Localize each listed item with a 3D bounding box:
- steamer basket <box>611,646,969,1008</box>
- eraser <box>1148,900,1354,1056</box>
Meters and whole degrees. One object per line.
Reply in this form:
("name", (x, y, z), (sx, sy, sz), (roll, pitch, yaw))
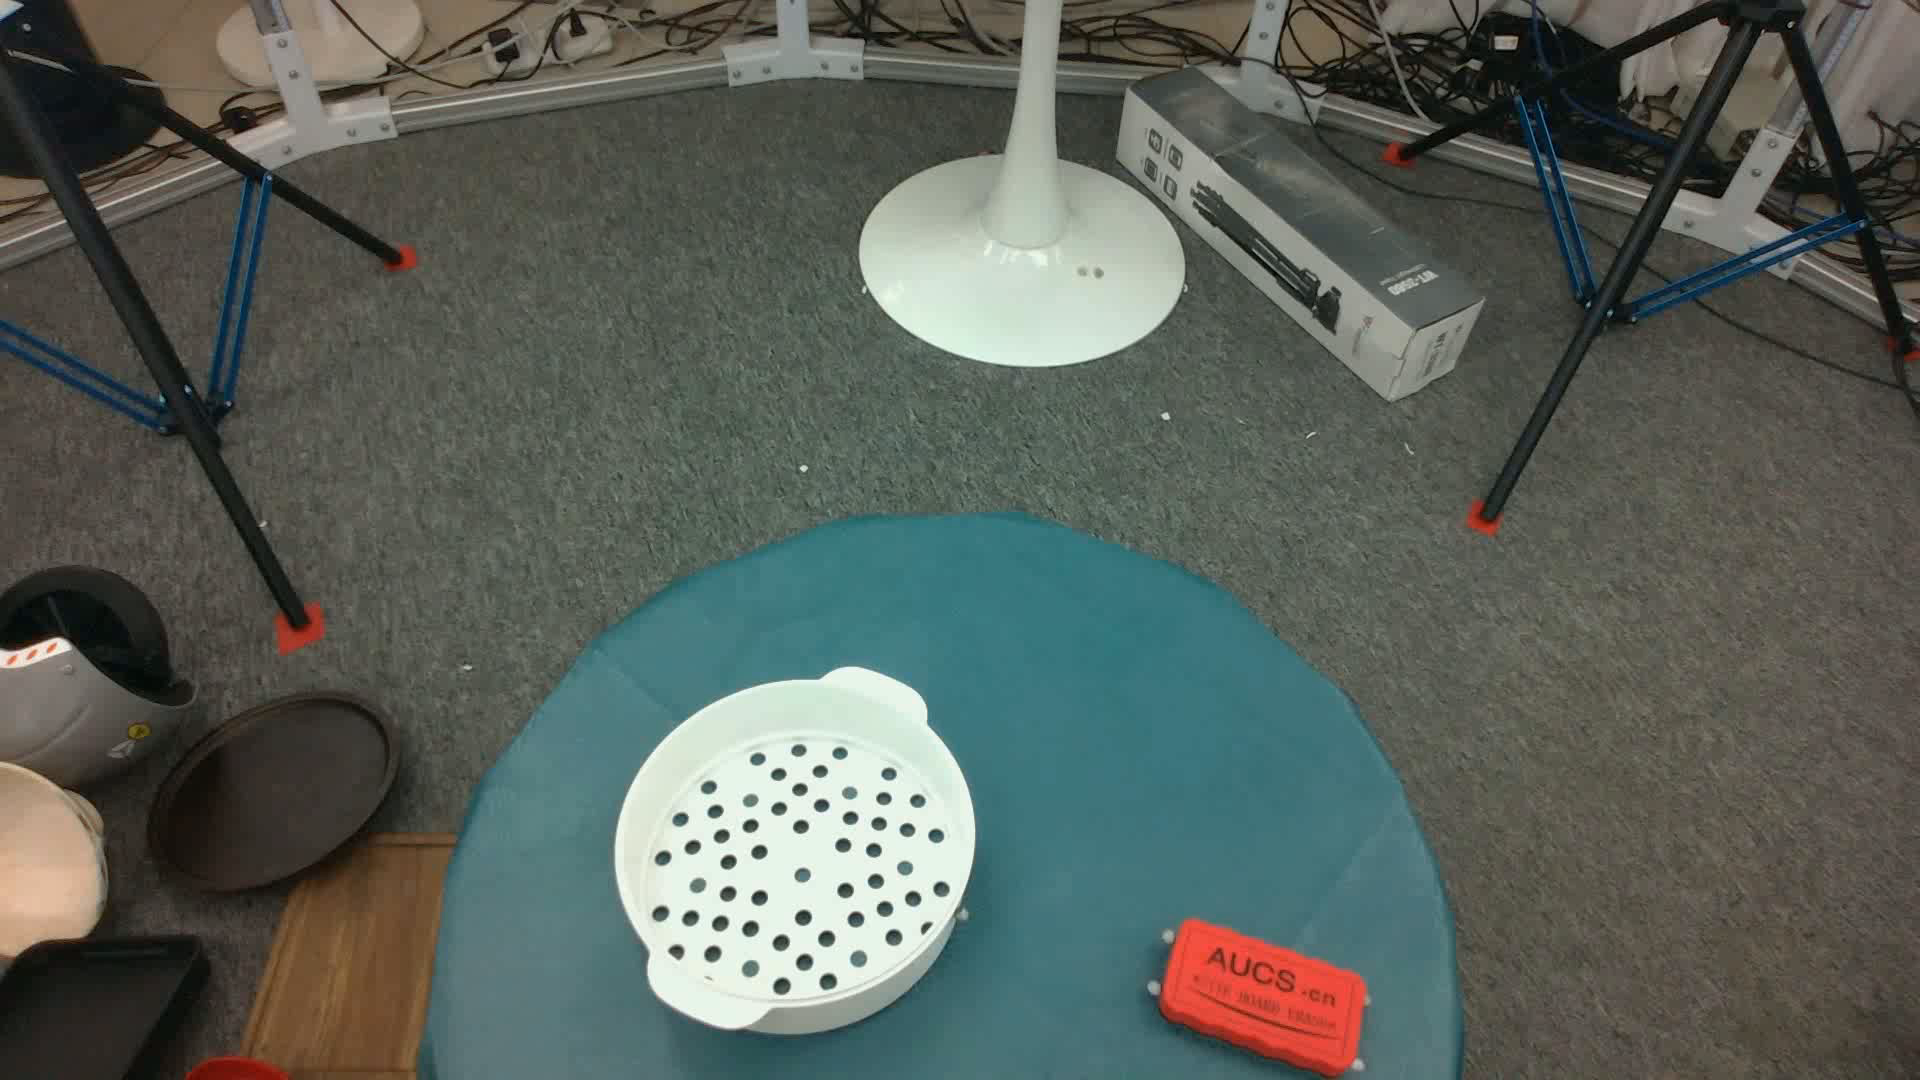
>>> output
("steamer basket", (-0.097, 0.169, 0.803), (0.202, 0.069, 0.232), (21, 52, 11))
("eraser", (0.165, 0.248, 0.781), (0.108, 0.023, 0.059), (17, 58, 7))
